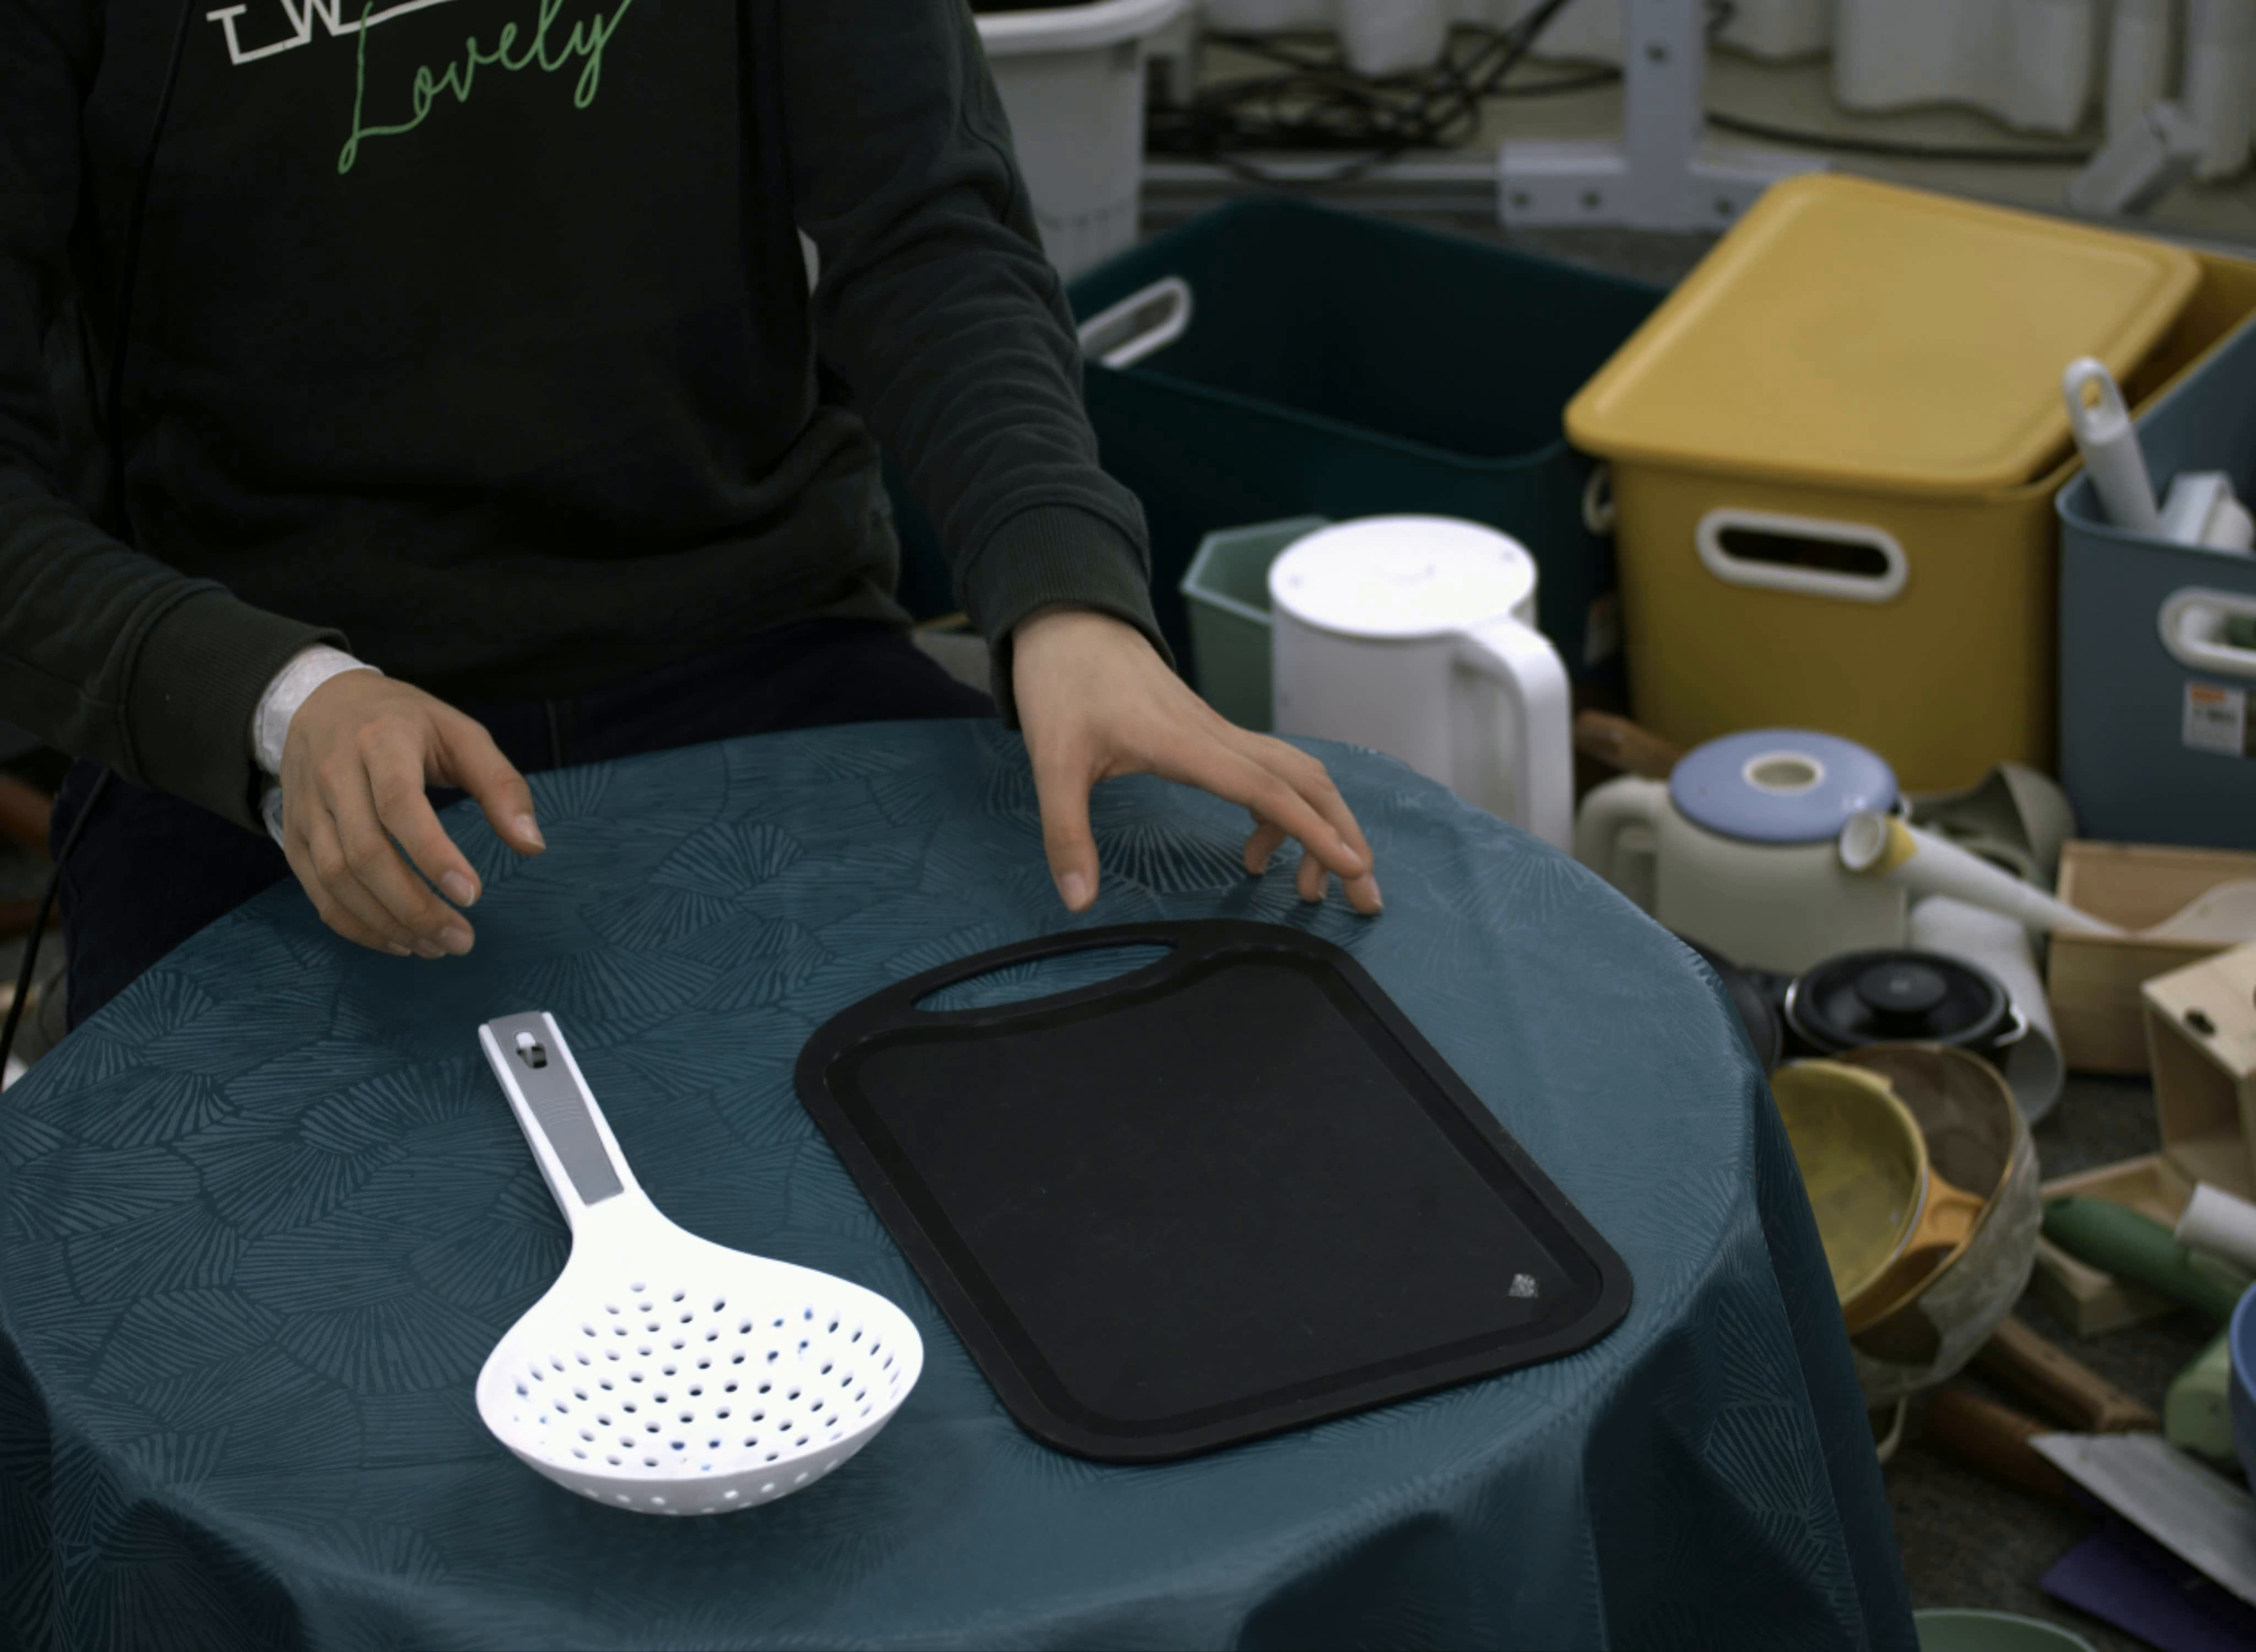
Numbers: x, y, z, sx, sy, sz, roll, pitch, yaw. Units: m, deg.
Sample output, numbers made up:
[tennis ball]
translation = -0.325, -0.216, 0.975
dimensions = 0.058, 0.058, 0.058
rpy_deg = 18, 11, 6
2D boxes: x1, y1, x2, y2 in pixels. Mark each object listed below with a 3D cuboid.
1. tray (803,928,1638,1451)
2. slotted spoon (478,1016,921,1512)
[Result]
[tray]
translation = 0.021, 0.111, 1.872
dimensions = 0.211, 0.009, 0.328
rpy_deg = -12, 28, -17
[slotted spoon]
translation = -0.162, 0.134, 1.804
dimensions = 0.136, 0.045, 0.353
rpy_deg = -8, 27, -15
